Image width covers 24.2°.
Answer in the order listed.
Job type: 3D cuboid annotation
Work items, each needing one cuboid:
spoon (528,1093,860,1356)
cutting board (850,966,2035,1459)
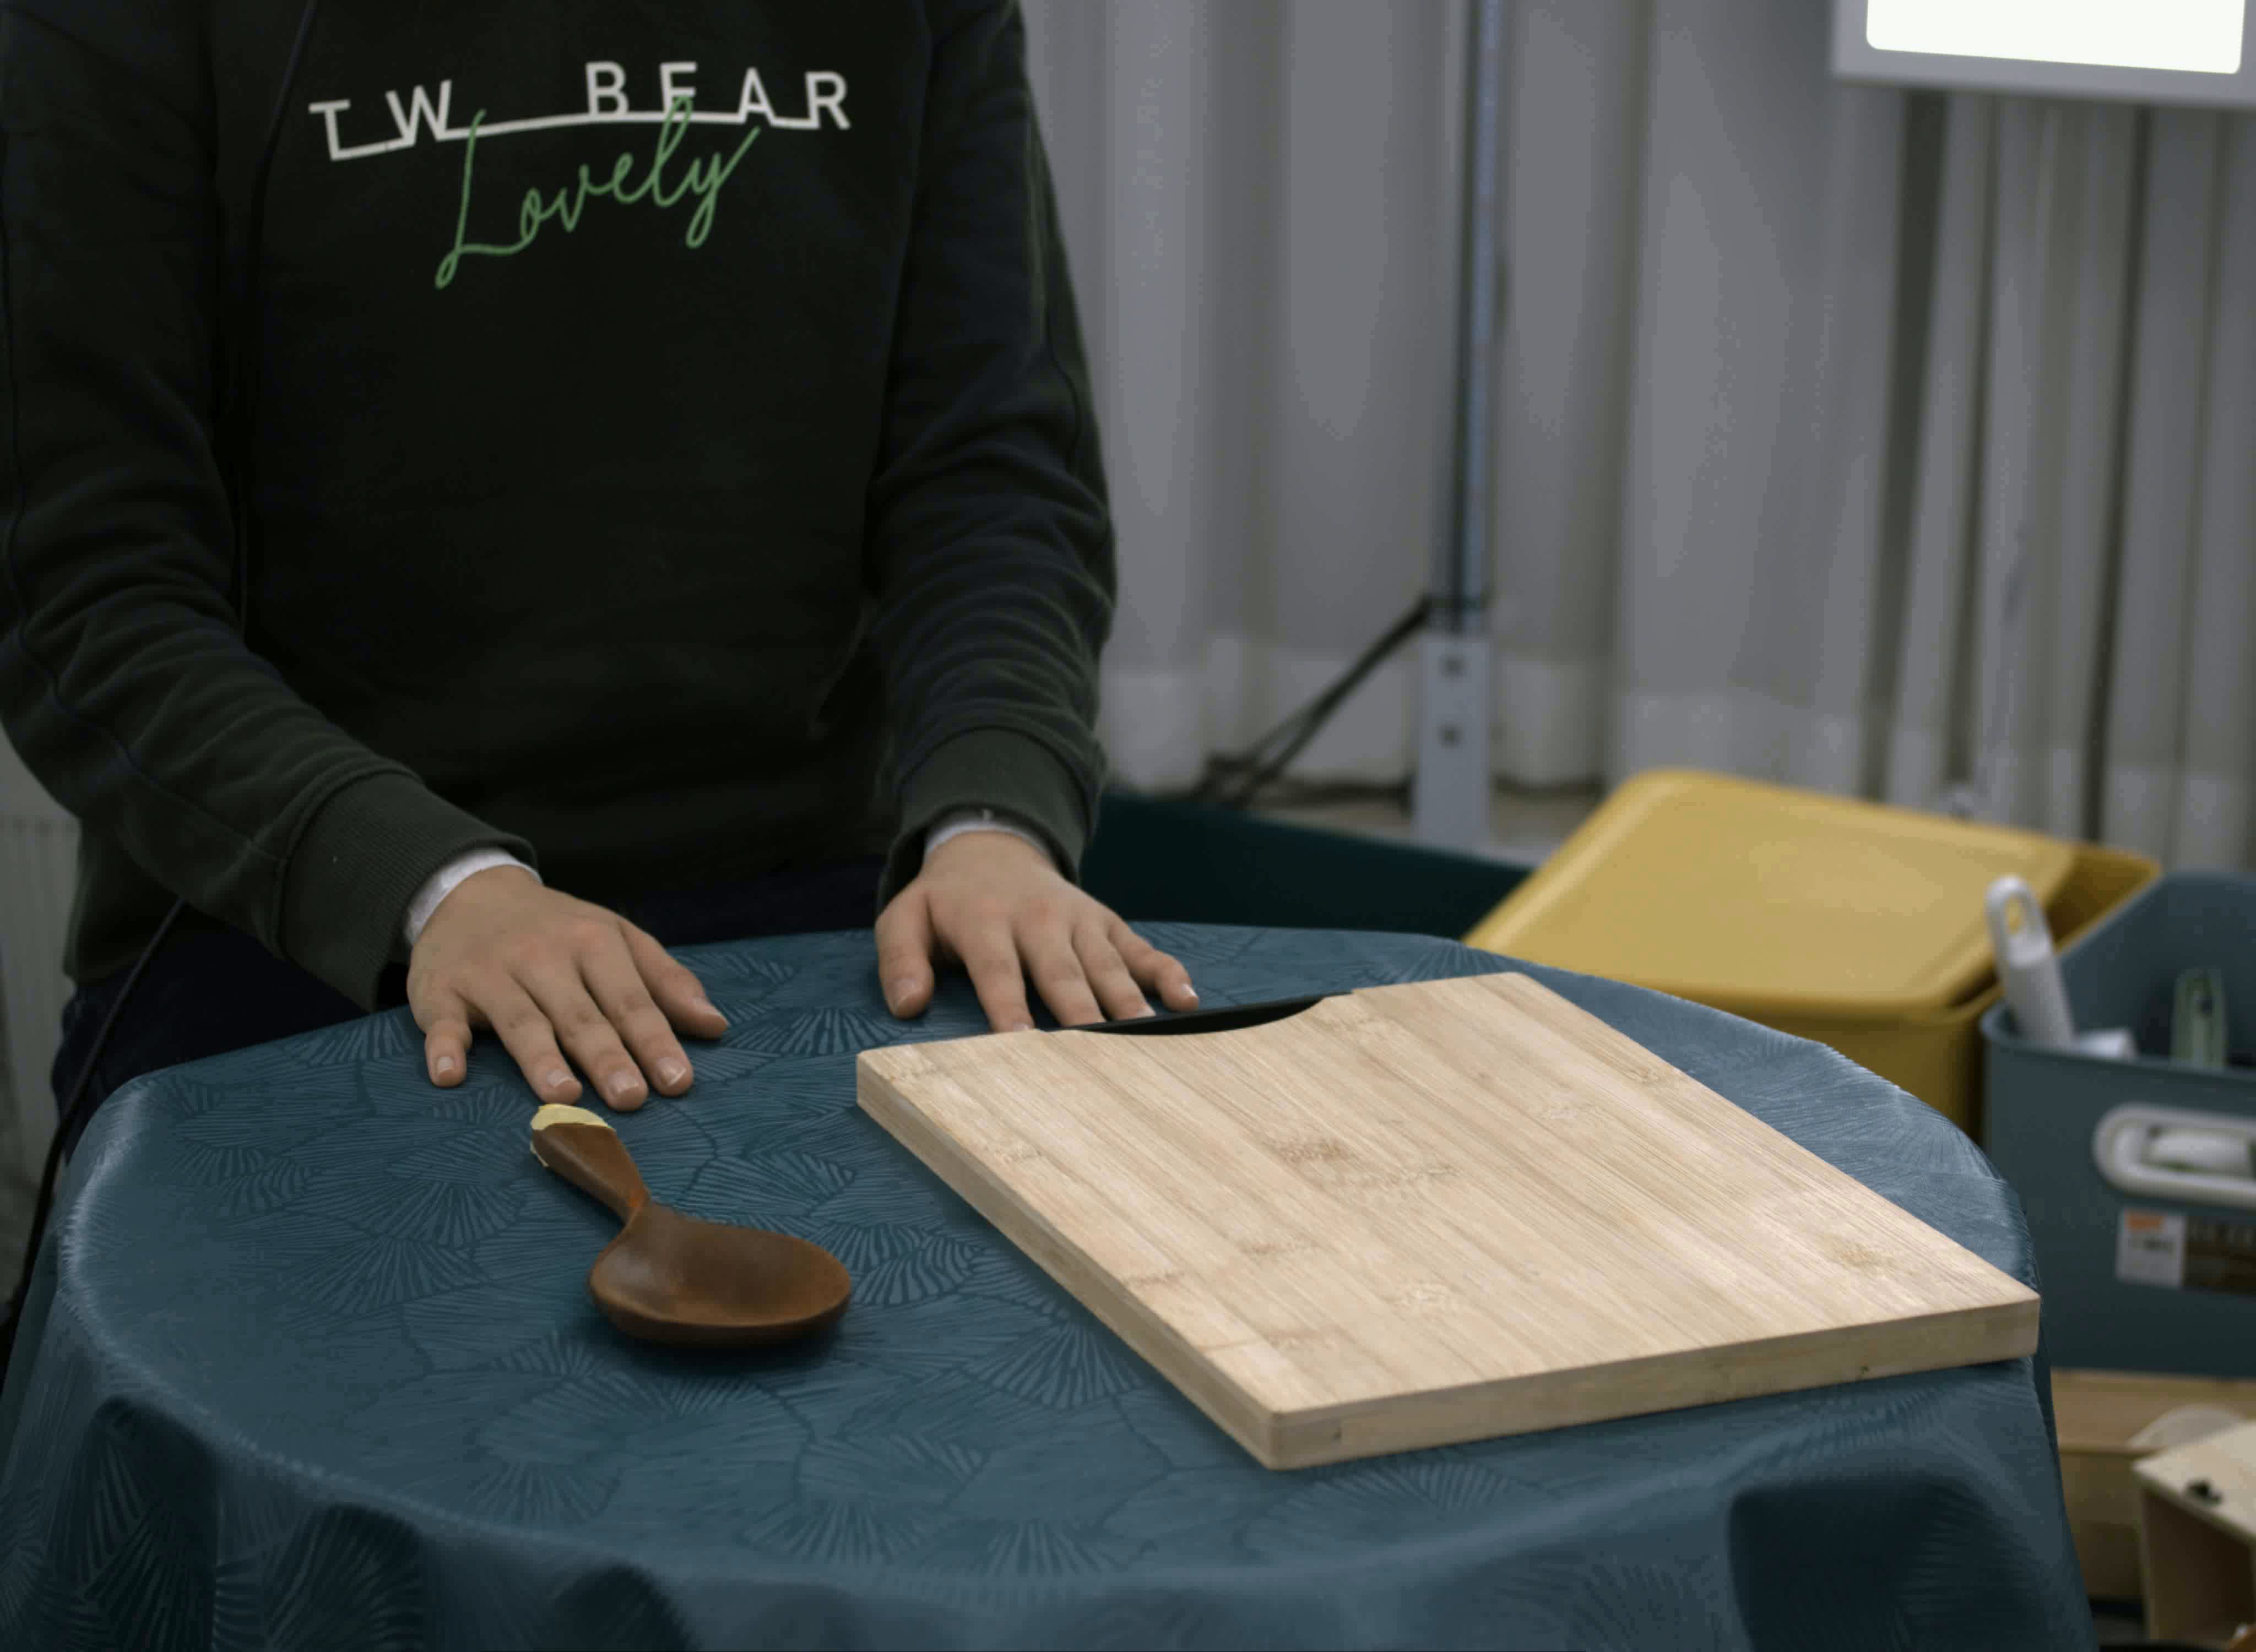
[{"bbox_3d":[-0.139,0.119,1.566,0.075,0.017,0.213,-7,18,-21],"label":"spoon"},{"bbox_3d":[0.084,0.111,1.607,0.251,0.024,0.344,-6,17,-23],"label":"cutting board"}]
